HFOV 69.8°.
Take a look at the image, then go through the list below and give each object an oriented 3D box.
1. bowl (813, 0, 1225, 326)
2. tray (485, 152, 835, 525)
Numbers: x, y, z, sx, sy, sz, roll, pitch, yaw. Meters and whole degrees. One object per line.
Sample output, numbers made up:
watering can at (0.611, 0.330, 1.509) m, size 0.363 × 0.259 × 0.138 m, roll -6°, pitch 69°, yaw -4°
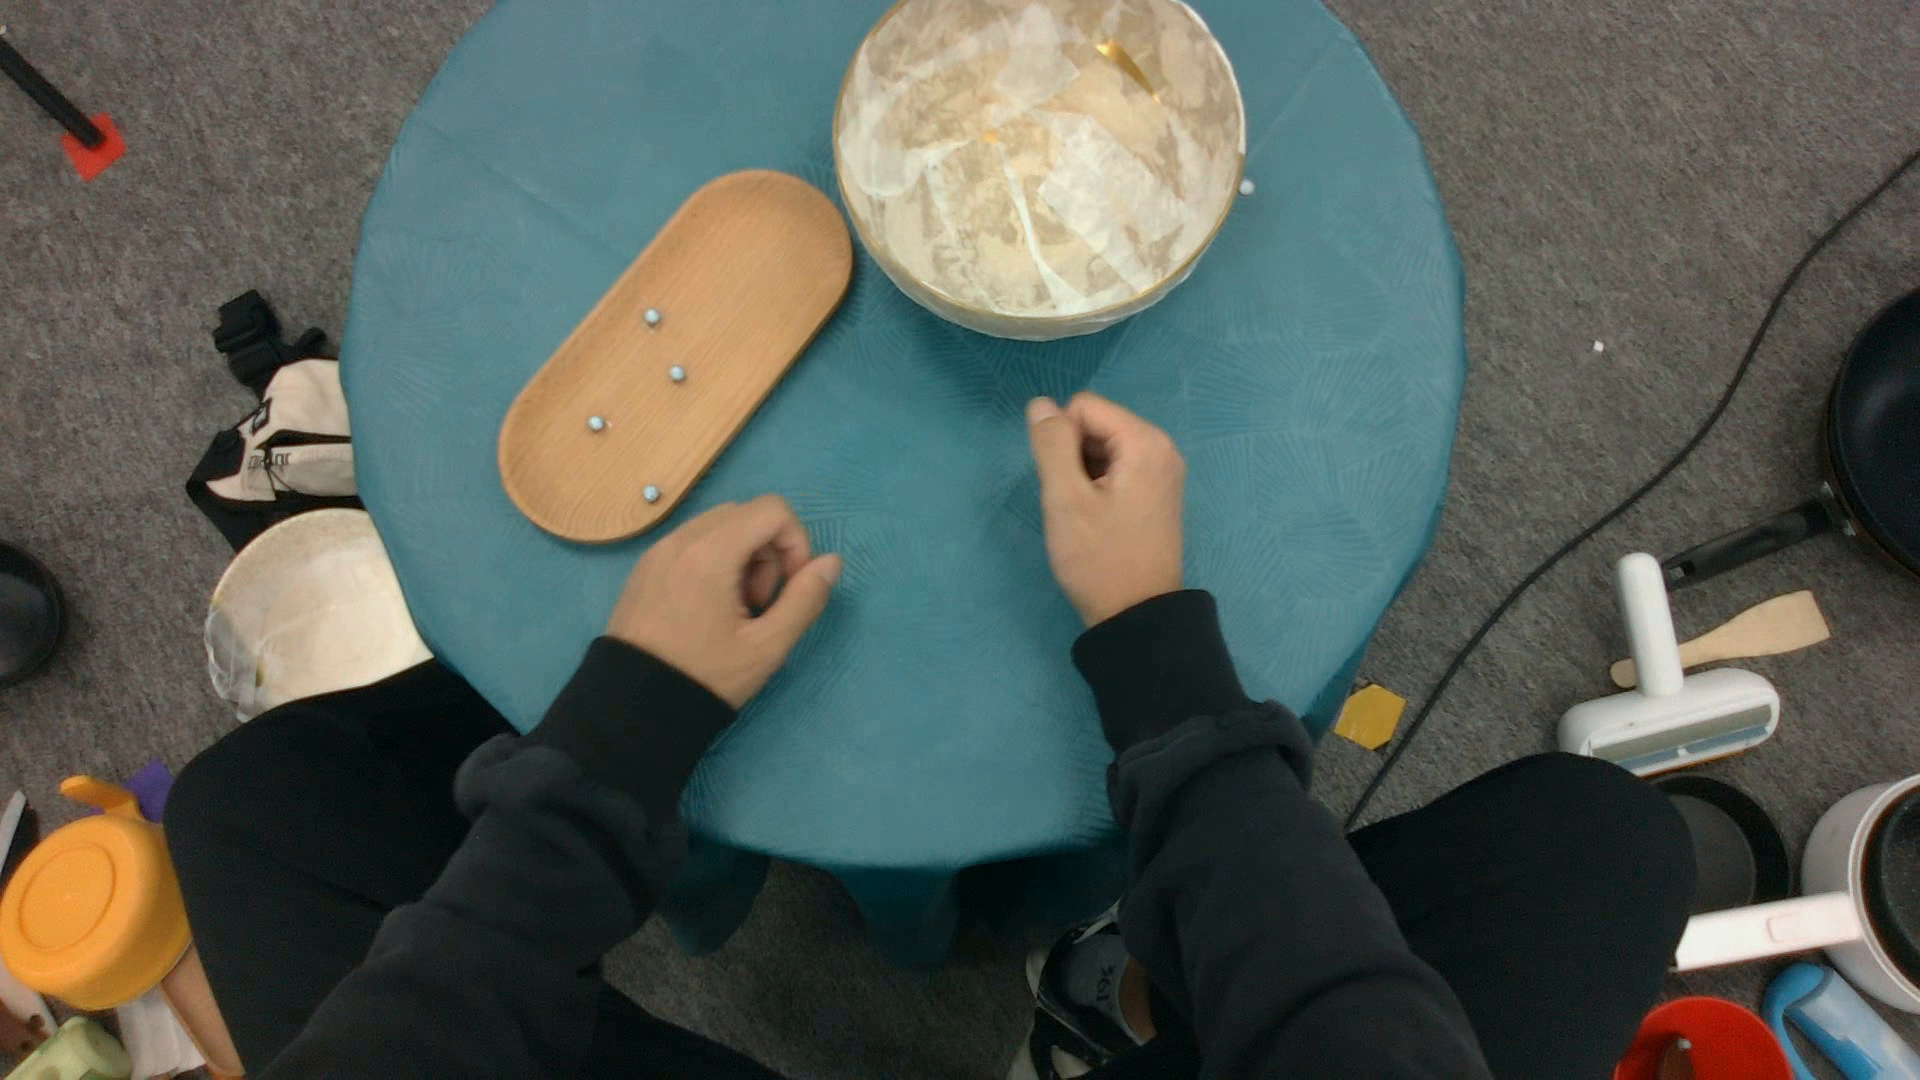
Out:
bowl at (0.025, -0.194, 0.713) m, size 0.215 × 0.094 × 0.215 m, roll 1°, pitch 76°, yaw -3°
tray at (-0.154, -0.108, 0.724) m, size 0.101 × 0.020 × 0.232 m, roll 34°, pitch 75°, yaw 5°
